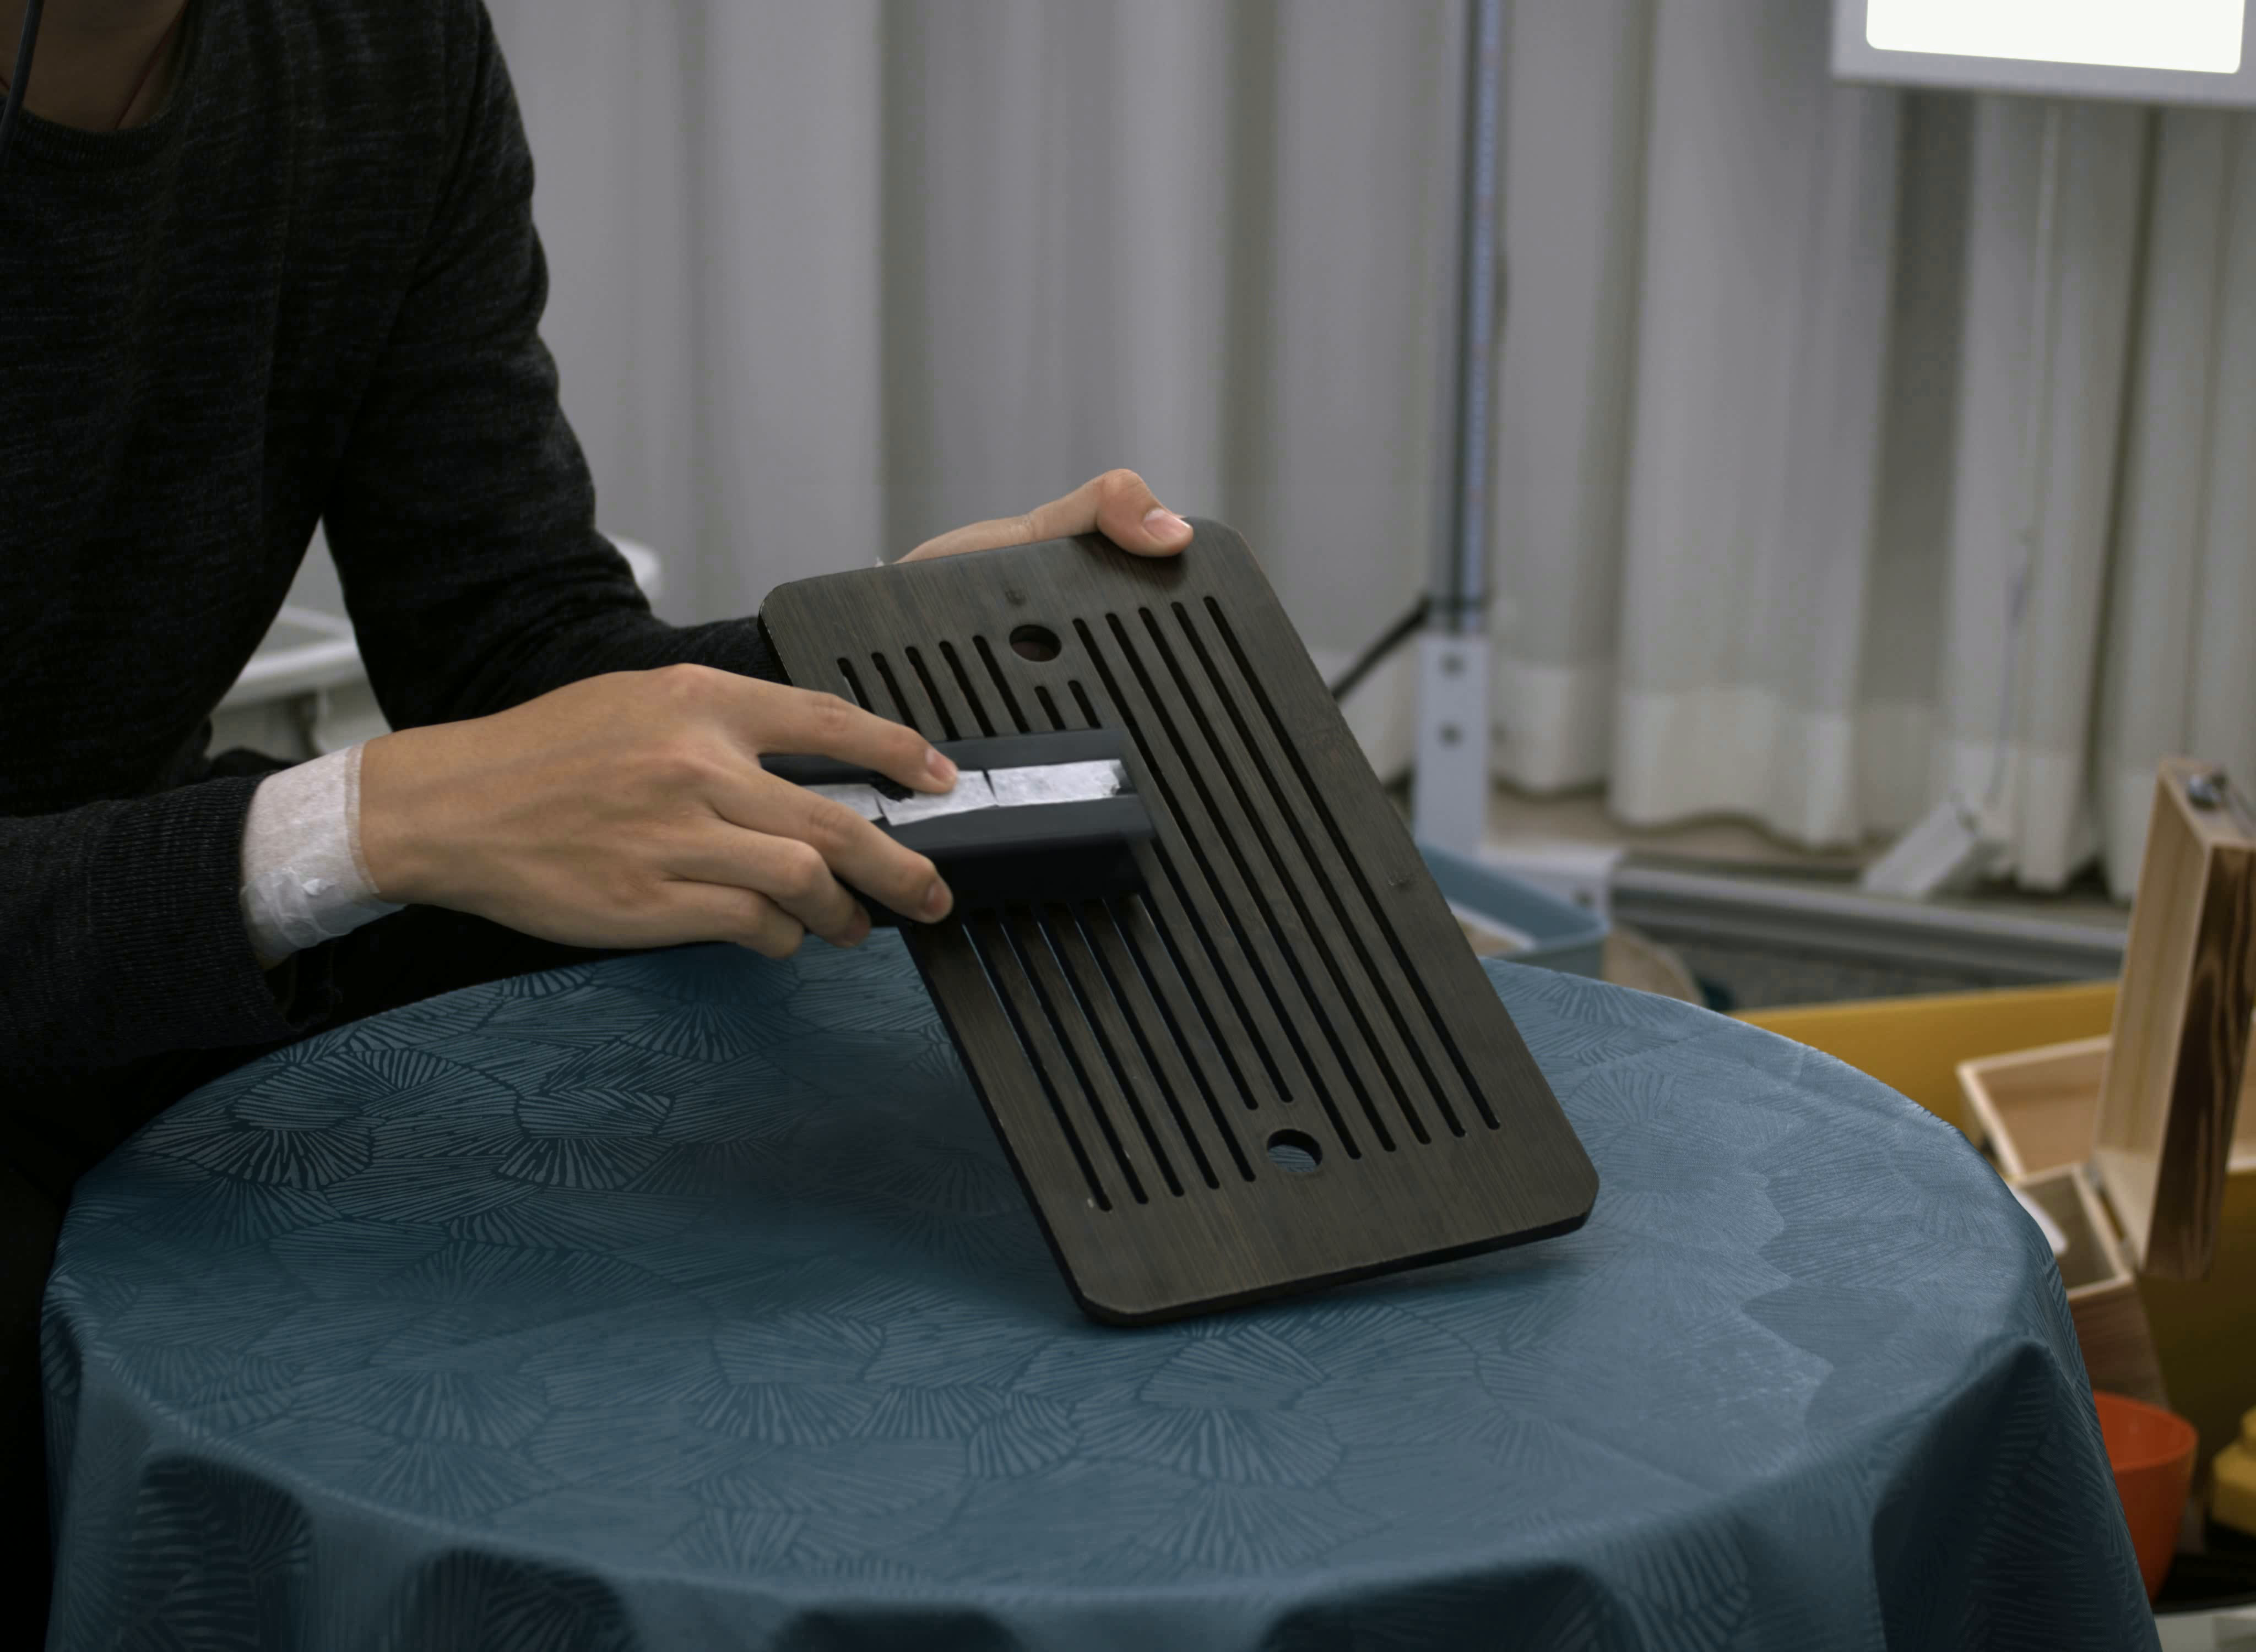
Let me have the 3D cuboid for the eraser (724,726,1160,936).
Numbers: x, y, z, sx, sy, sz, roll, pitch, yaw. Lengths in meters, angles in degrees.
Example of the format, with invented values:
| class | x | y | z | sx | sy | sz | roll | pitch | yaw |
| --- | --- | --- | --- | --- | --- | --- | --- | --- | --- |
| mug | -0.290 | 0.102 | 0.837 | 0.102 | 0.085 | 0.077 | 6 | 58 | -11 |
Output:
| class | x | y | z | sx | sy | sz | roll | pitch | yaw |
| --- | --- | --- | --- | --- | --- | --- | --- | --- | --- |
| eraser | -0.057 | 0.000 | 1.594 | 0.126 | 0.031 | 0.053 | -7 | 46 | -19 |

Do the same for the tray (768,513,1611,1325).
| class | x | y | z | sx | sy | sz | roll | pitch | yaw |
| --- | --- | --- | --- | --- | --- | --- | --- | --- | --- |
| tray | 0.014 | 0.022 | 1.622 | 0.170 | 0.019 | 0.302 | -10 | 51 | -22 |
